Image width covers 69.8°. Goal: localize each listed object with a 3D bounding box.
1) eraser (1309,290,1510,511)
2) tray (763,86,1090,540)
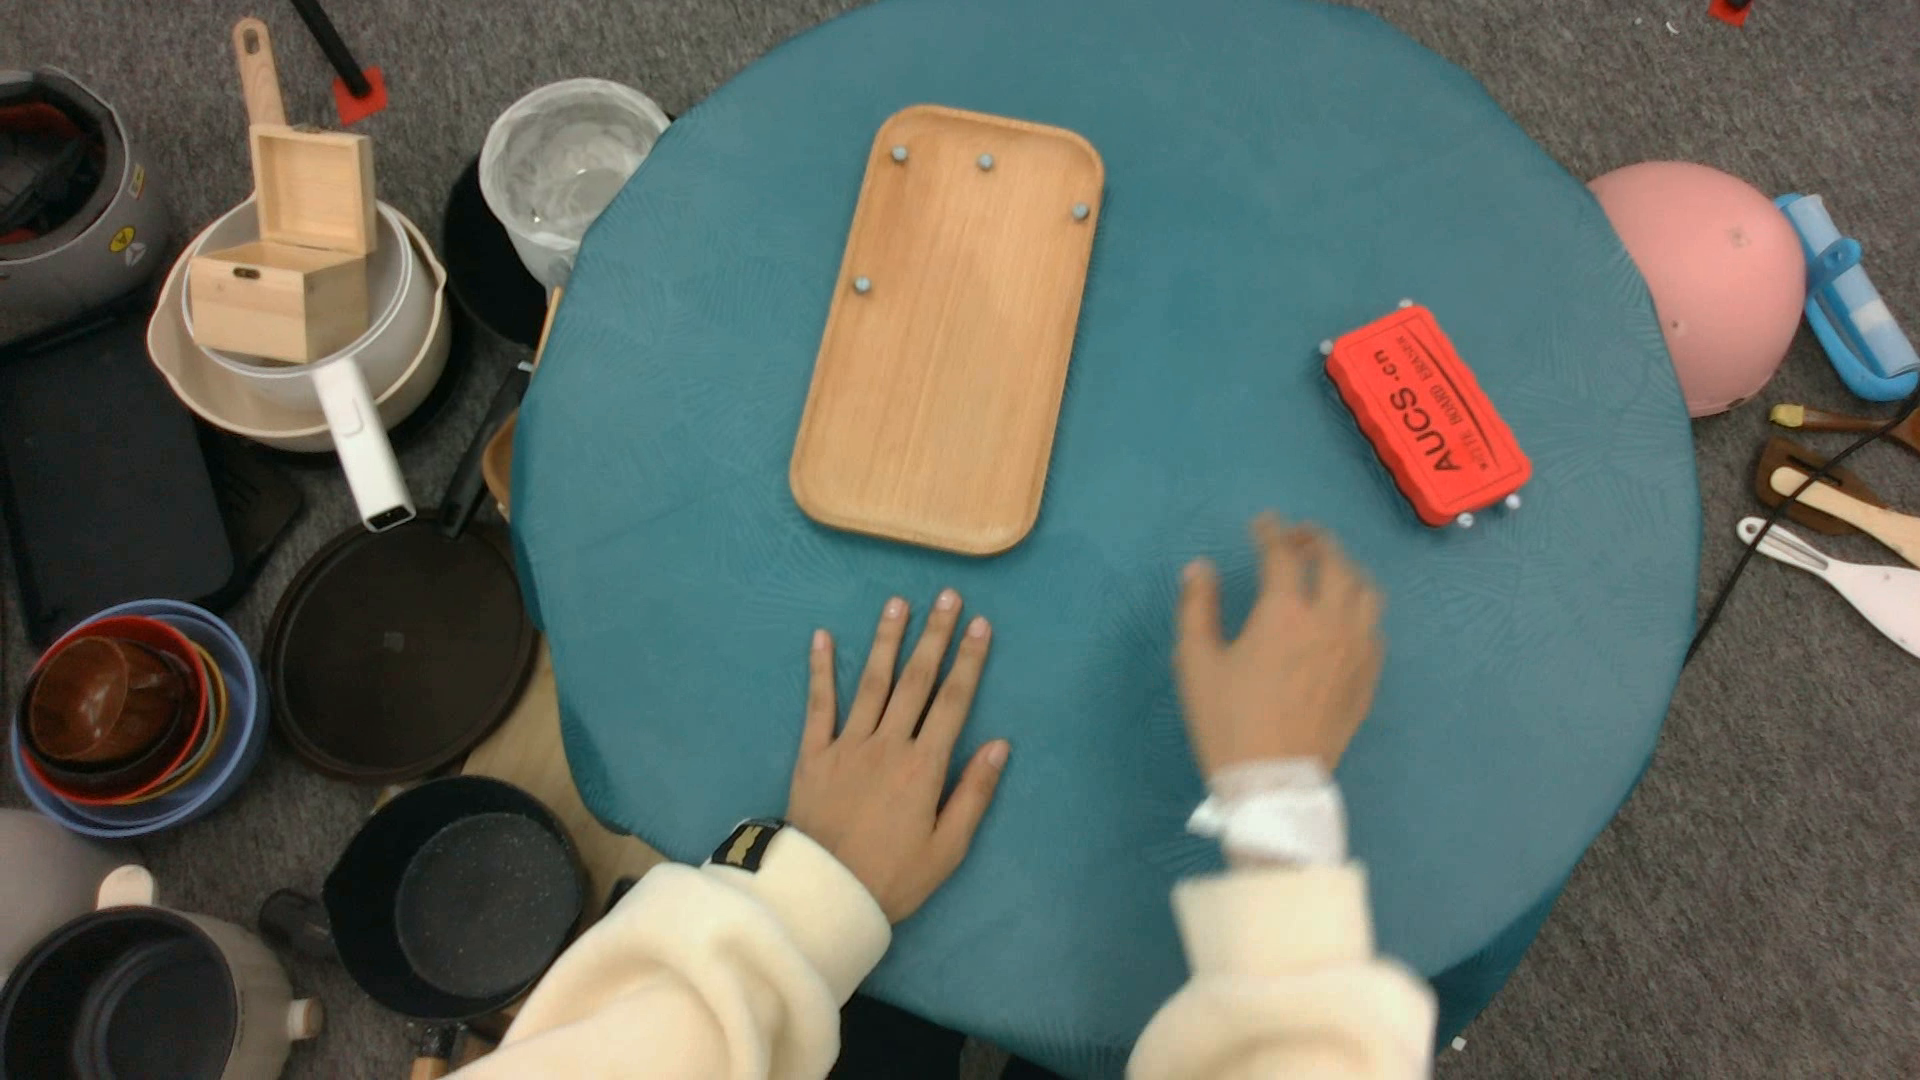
[{"bbox_3d":[0.228,-0.072,0.703,0.059,0.023,0.108,-24,73,-10],"label":"eraser"},{"bbox_3d":[-0.014,-0.123,0.716,0.130,0.023,0.251,12,72,5],"label":"tray"}]
